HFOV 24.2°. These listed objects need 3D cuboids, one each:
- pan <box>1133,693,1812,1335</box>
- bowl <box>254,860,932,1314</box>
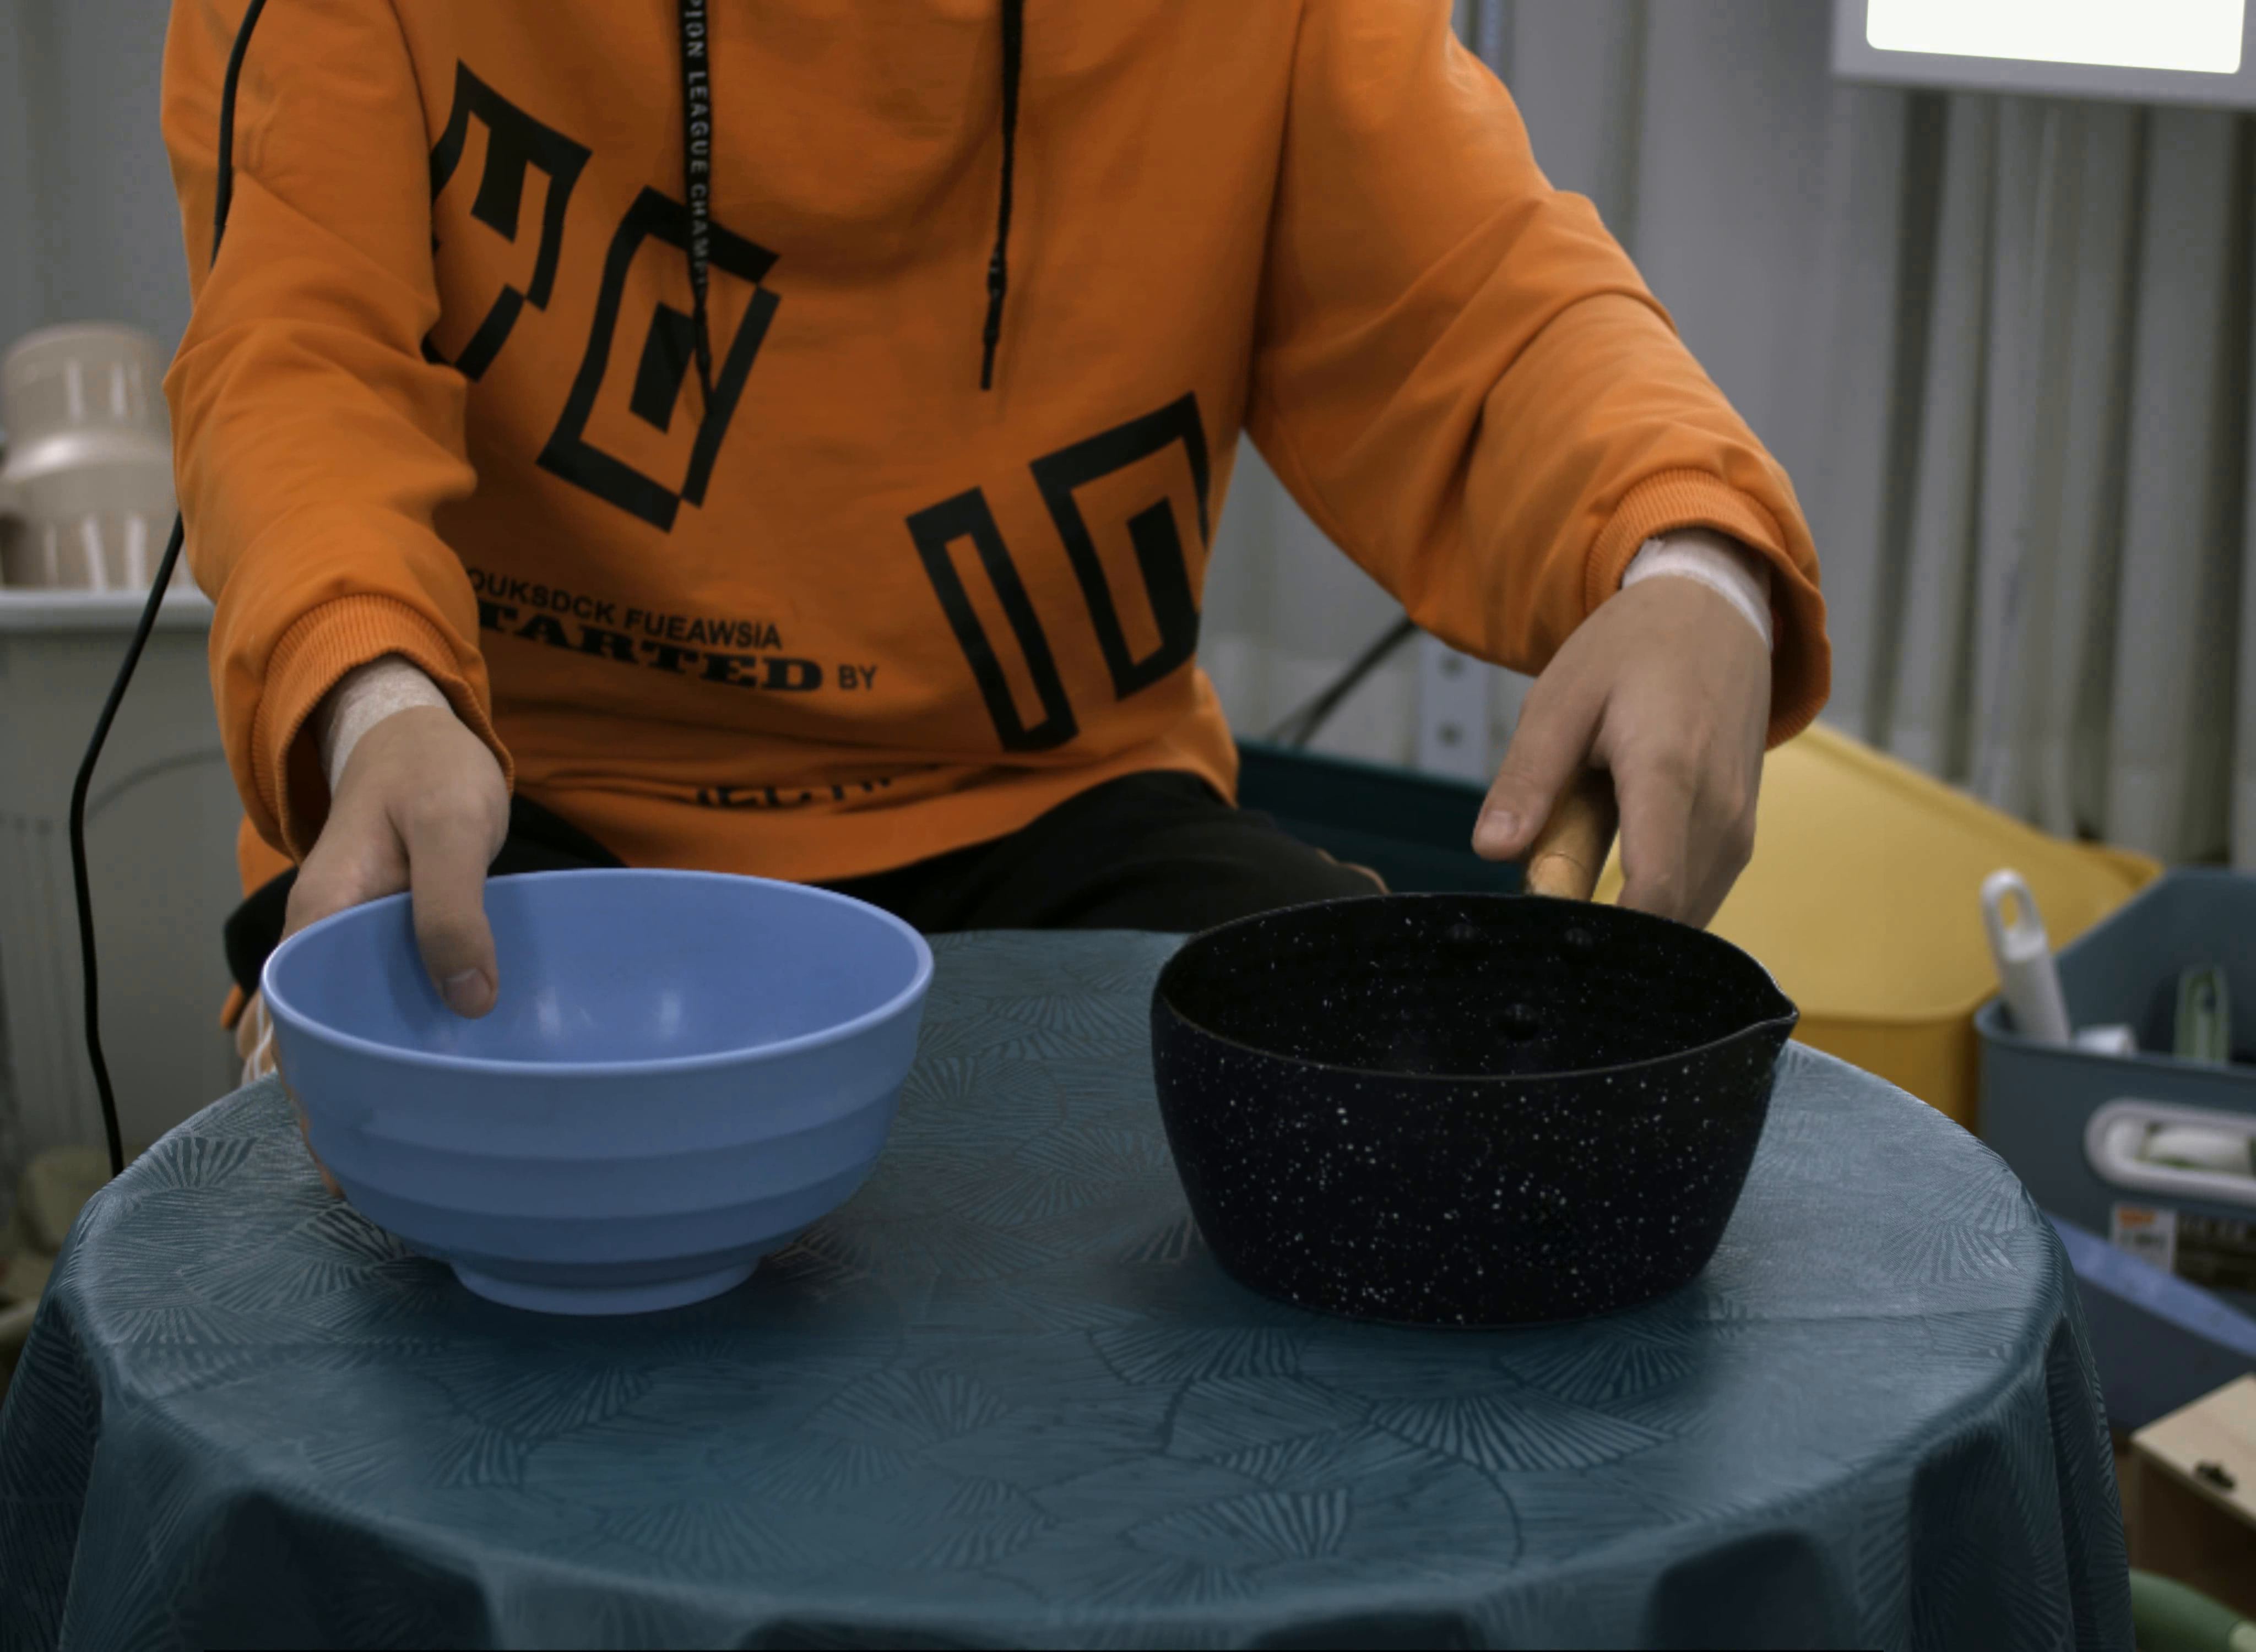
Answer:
[{"bbox_3d":[0.119,0.053,1.636,0.206,0.109,0.342,3,17,14],"label":"pan"},{"bbox_3d":[-0.155,0.082,1.544,0.196,0.096,0.195,0,17,0],"label":"bowl"}]
